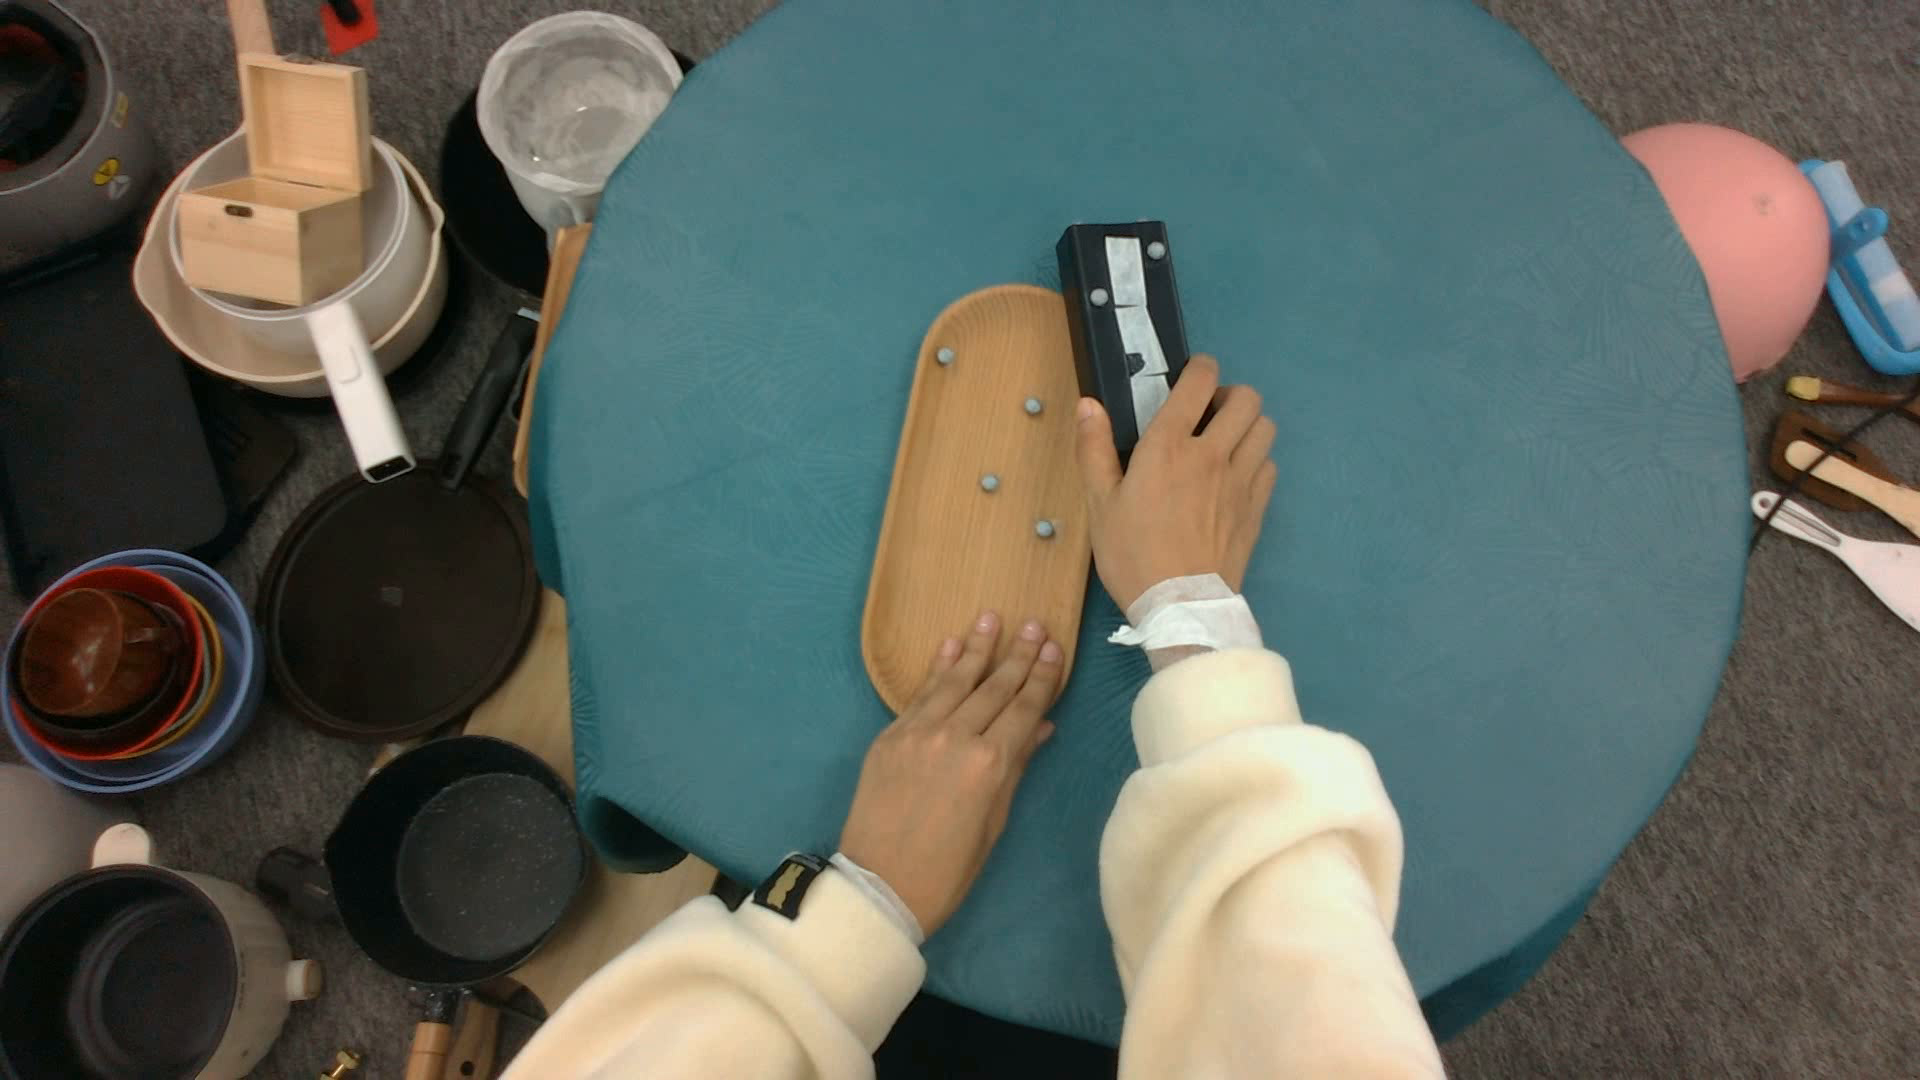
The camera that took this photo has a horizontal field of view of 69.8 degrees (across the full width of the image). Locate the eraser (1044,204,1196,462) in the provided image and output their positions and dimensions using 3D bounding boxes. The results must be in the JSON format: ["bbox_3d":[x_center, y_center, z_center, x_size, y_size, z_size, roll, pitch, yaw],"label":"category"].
[{"bbox_3d":[0.075,-0.101,0.669,0.053,0.030,0.126,-6,72,-7],"label":"eraser"}]

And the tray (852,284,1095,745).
[{"bbox_3d":[0.011,-0.016,0.662,0.101,0.020,0.232,9,75,0],"label":"tray"}]
